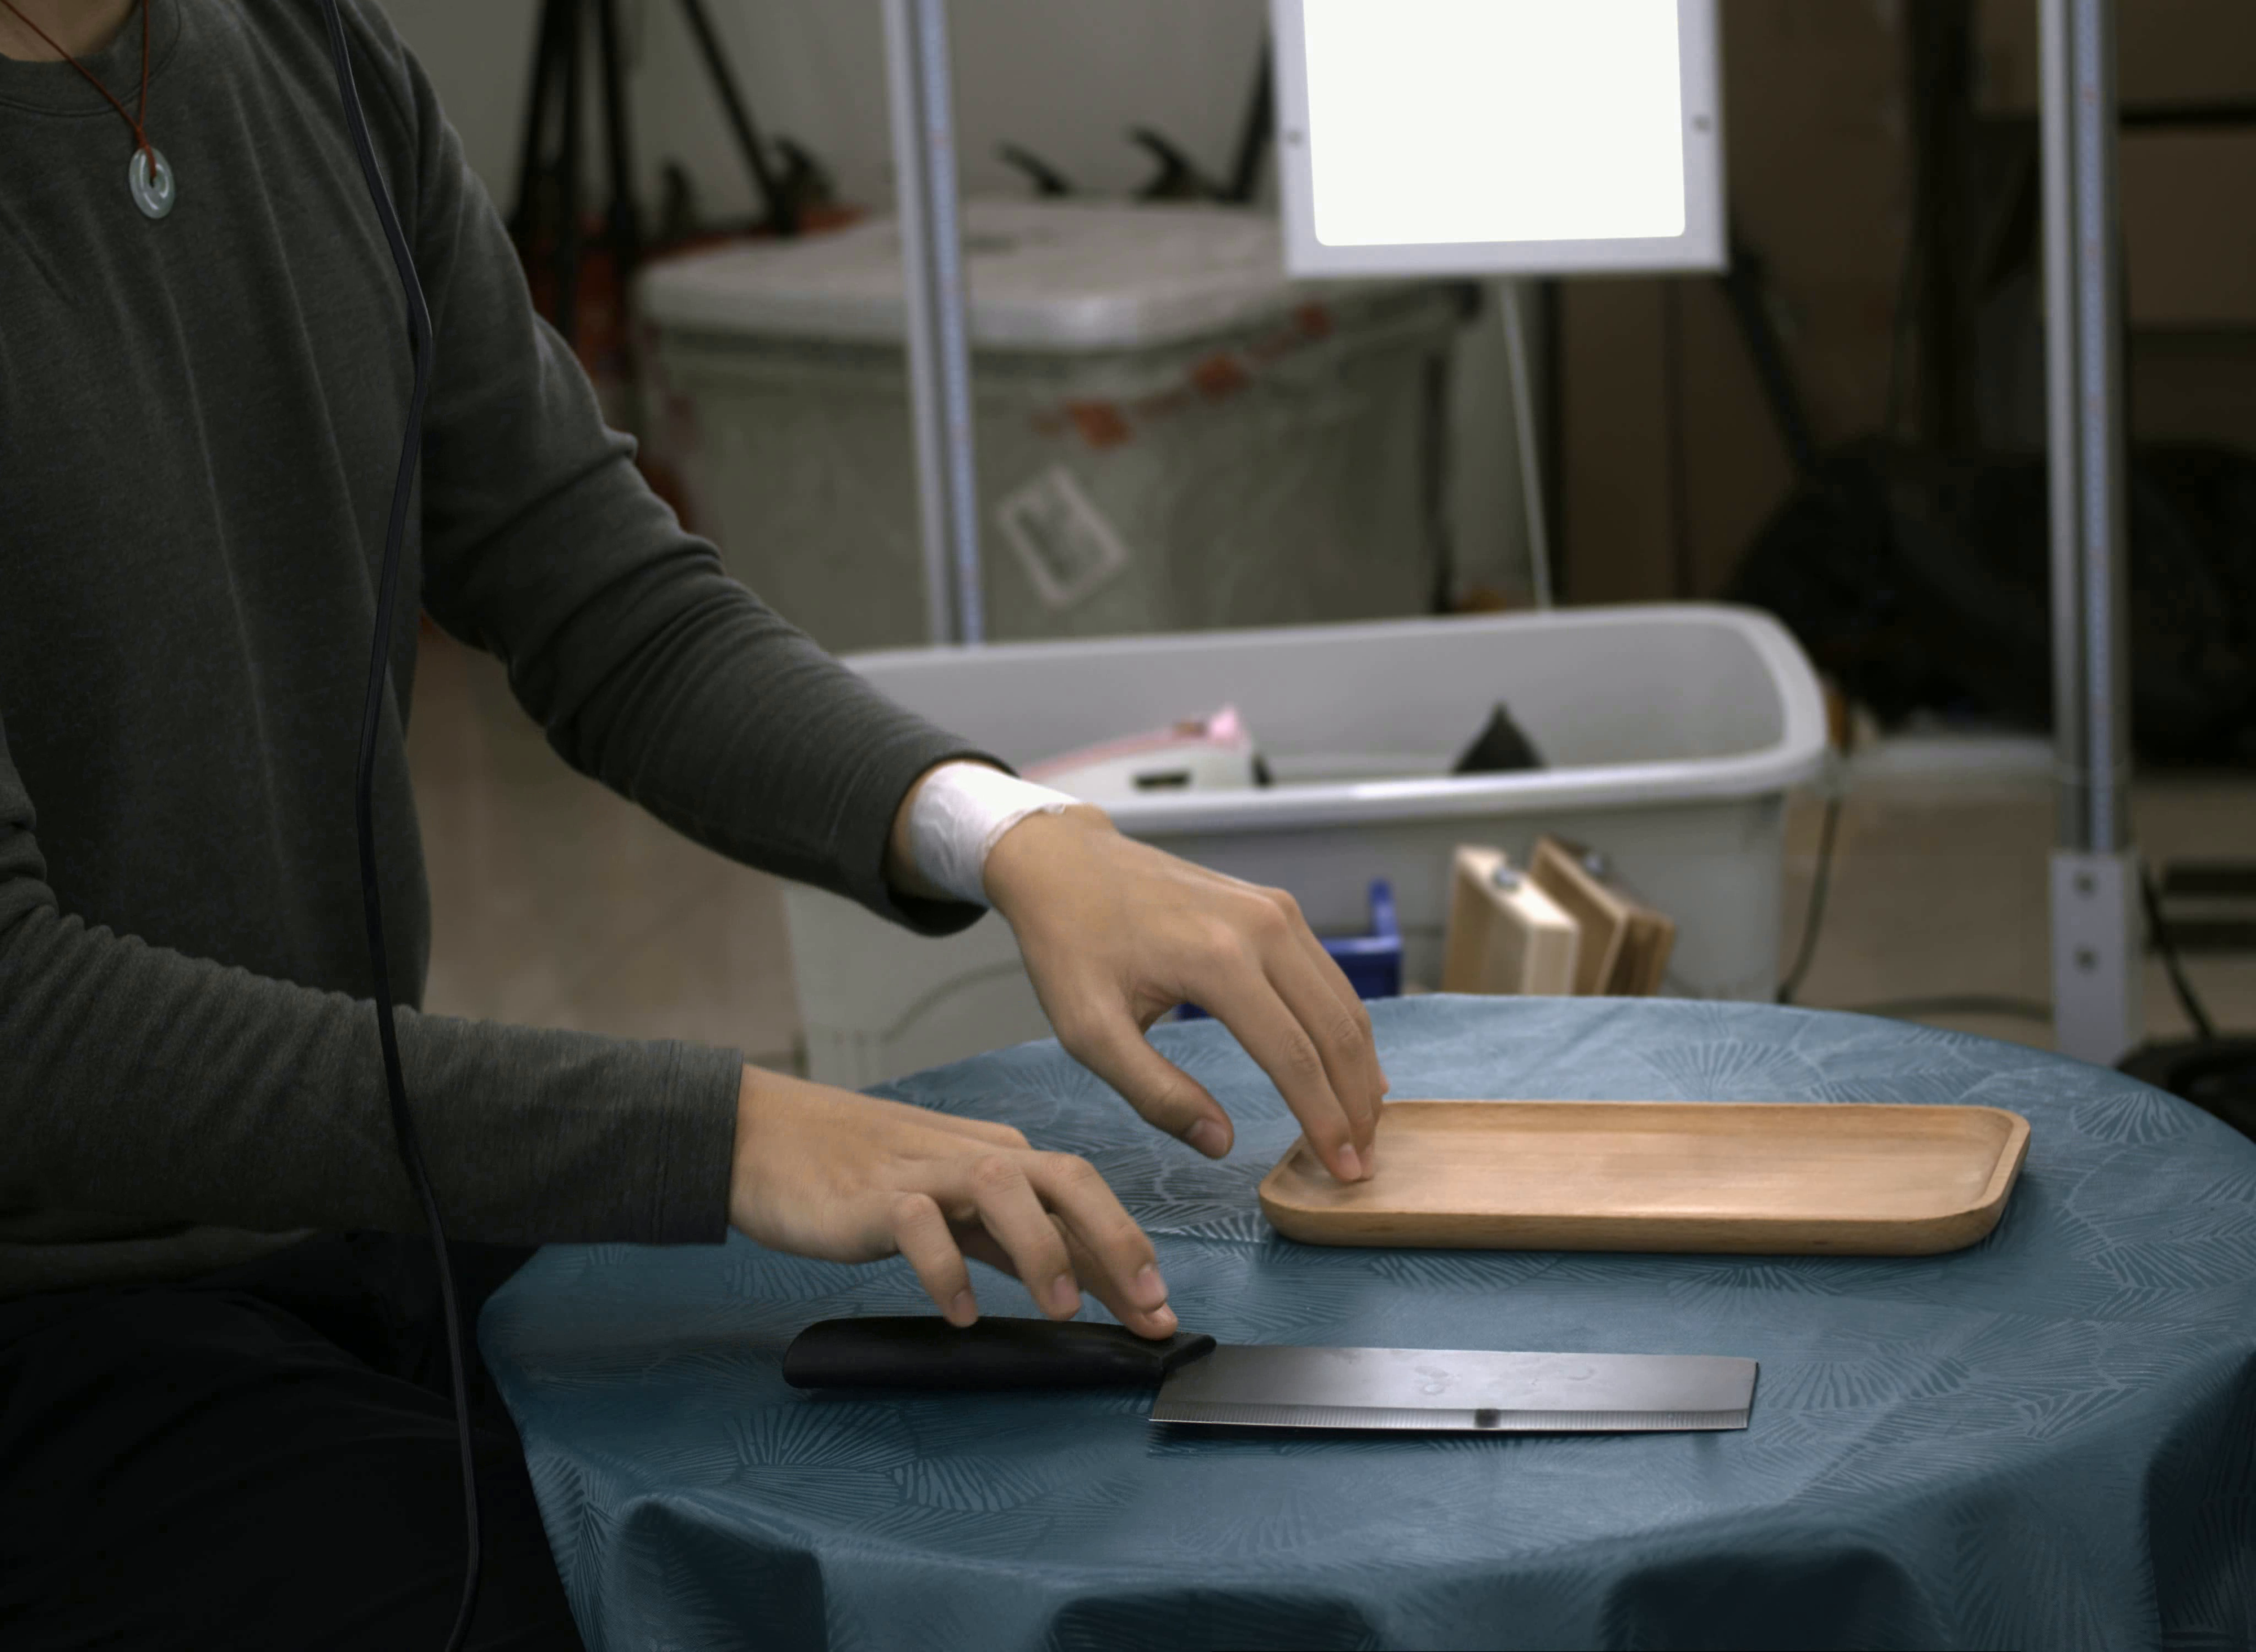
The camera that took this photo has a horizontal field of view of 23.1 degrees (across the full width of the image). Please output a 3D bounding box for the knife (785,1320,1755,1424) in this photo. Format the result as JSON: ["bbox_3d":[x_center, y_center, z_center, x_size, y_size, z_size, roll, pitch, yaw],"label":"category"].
[{"bbox_3d":[0.042,0.169,1.684,0.305,0.021,0.080,1,14,16],"label":"knife"}]

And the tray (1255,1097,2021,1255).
[{"bbox_3d":[0.173,0.117,1.845,0.254,0.023,0.128,-1,12,20],"label":"tray"}]
